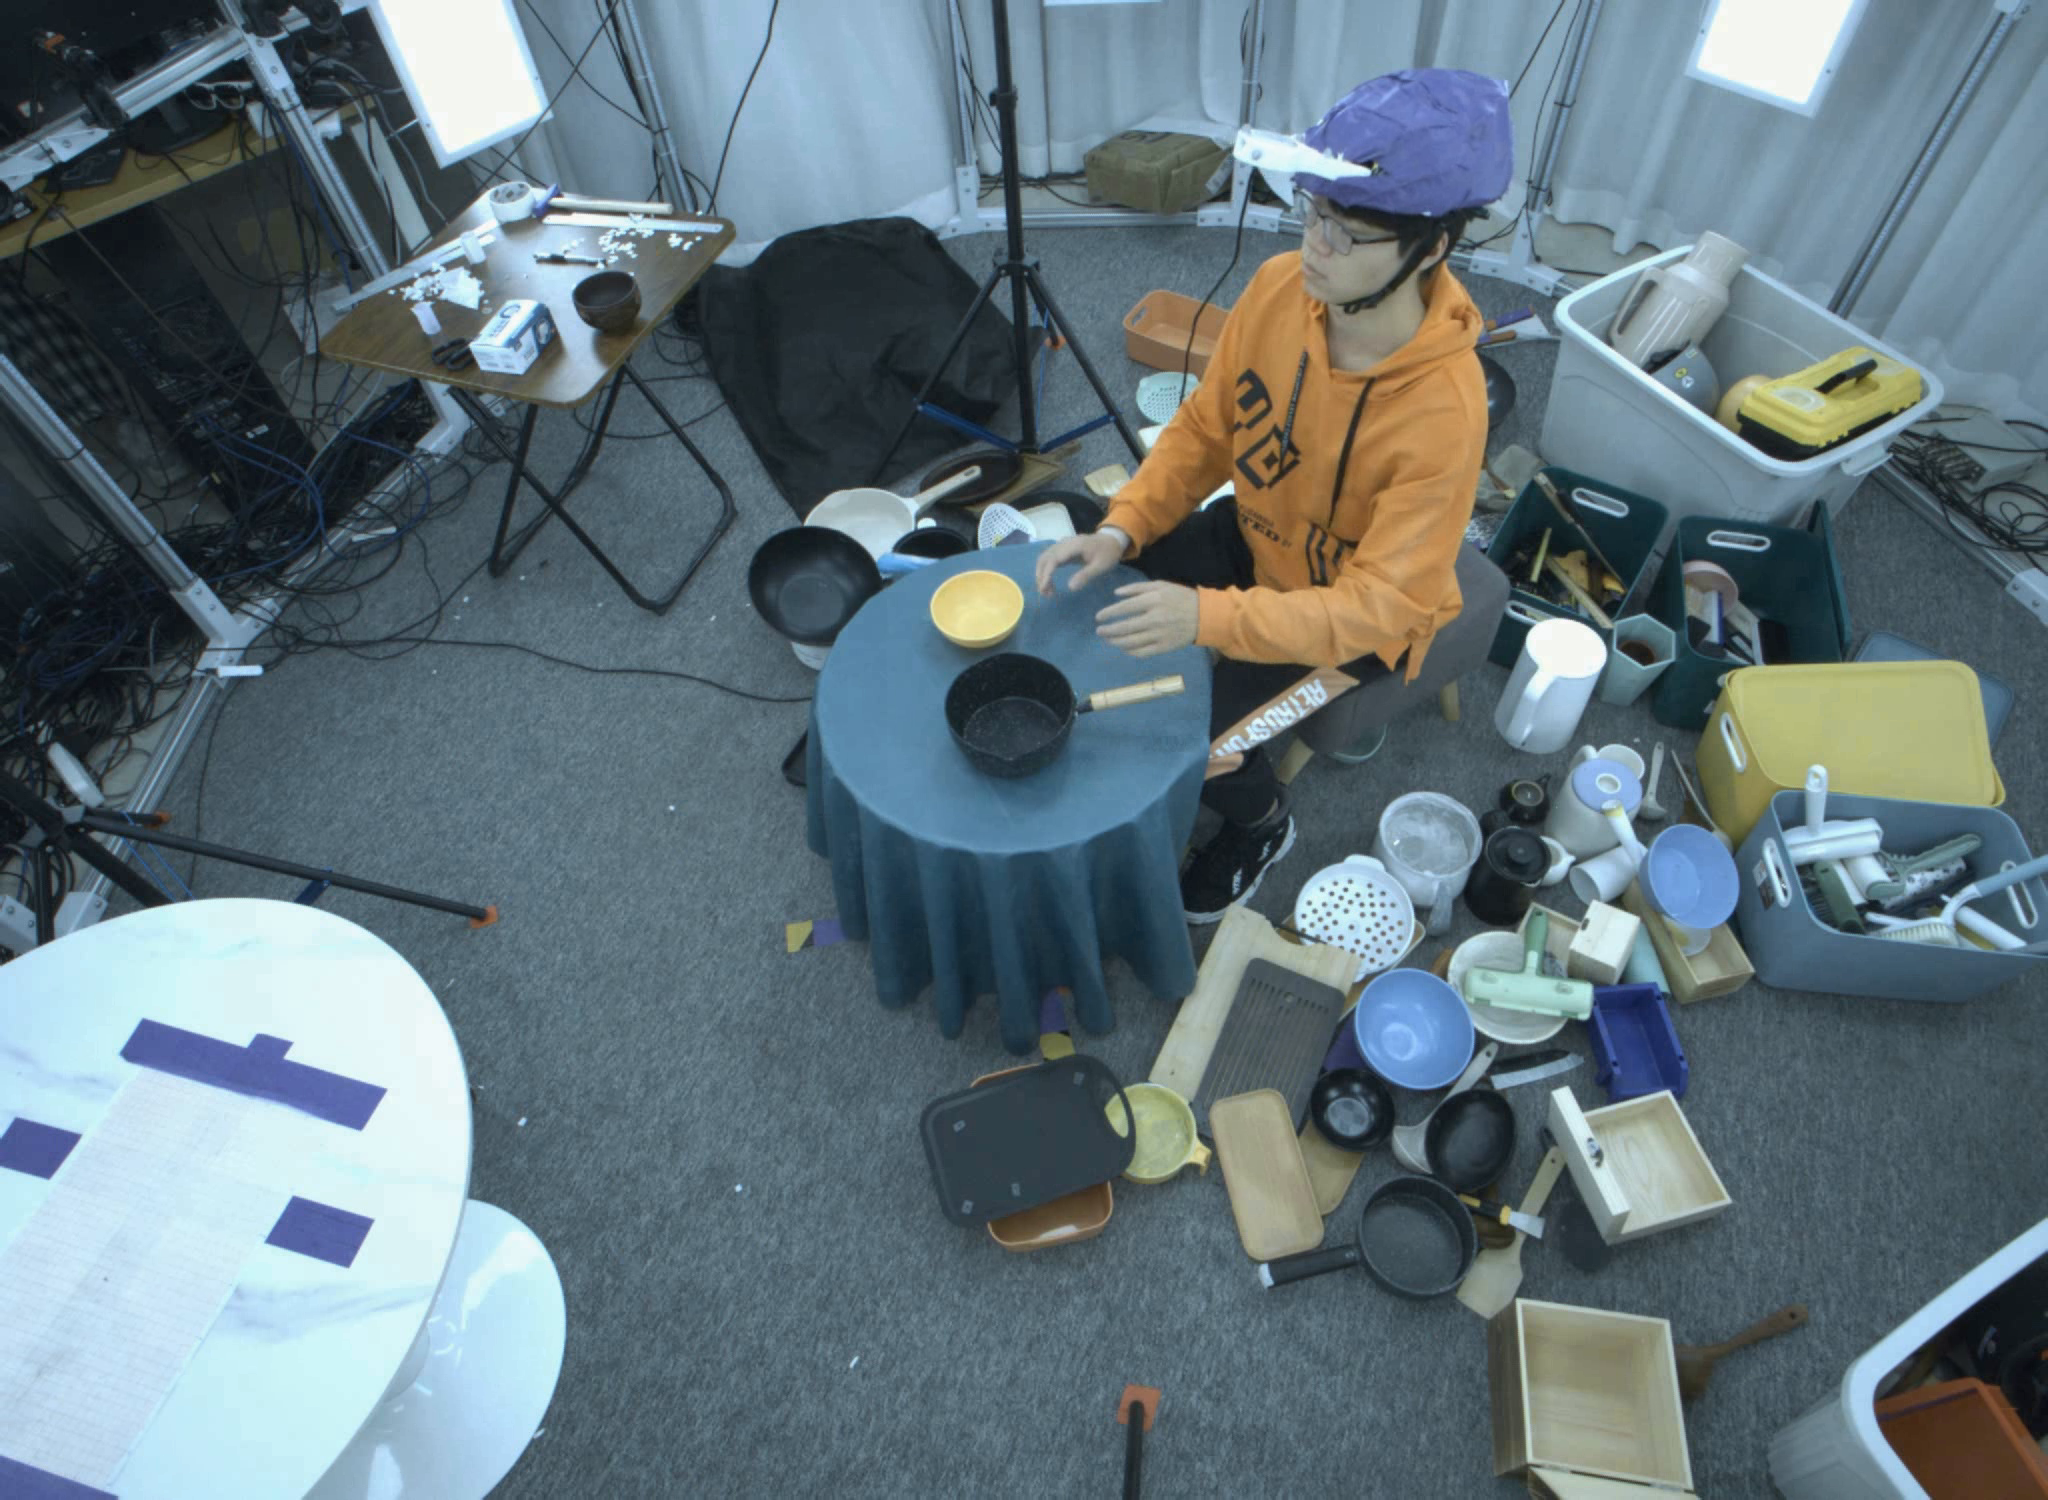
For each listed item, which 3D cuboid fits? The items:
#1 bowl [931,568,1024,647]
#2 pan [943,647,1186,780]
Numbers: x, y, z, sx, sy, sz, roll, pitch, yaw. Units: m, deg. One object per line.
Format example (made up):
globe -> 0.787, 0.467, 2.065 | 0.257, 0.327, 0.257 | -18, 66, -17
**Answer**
bowl -> -0.071, -0.209, 1.901 | 0.145, 0.061, 0.144 | 0, 56, 2
pan -> 0.059, -0.056, 1.758 | 0.343, 0.109, 0.205 | -6, 53, 0
